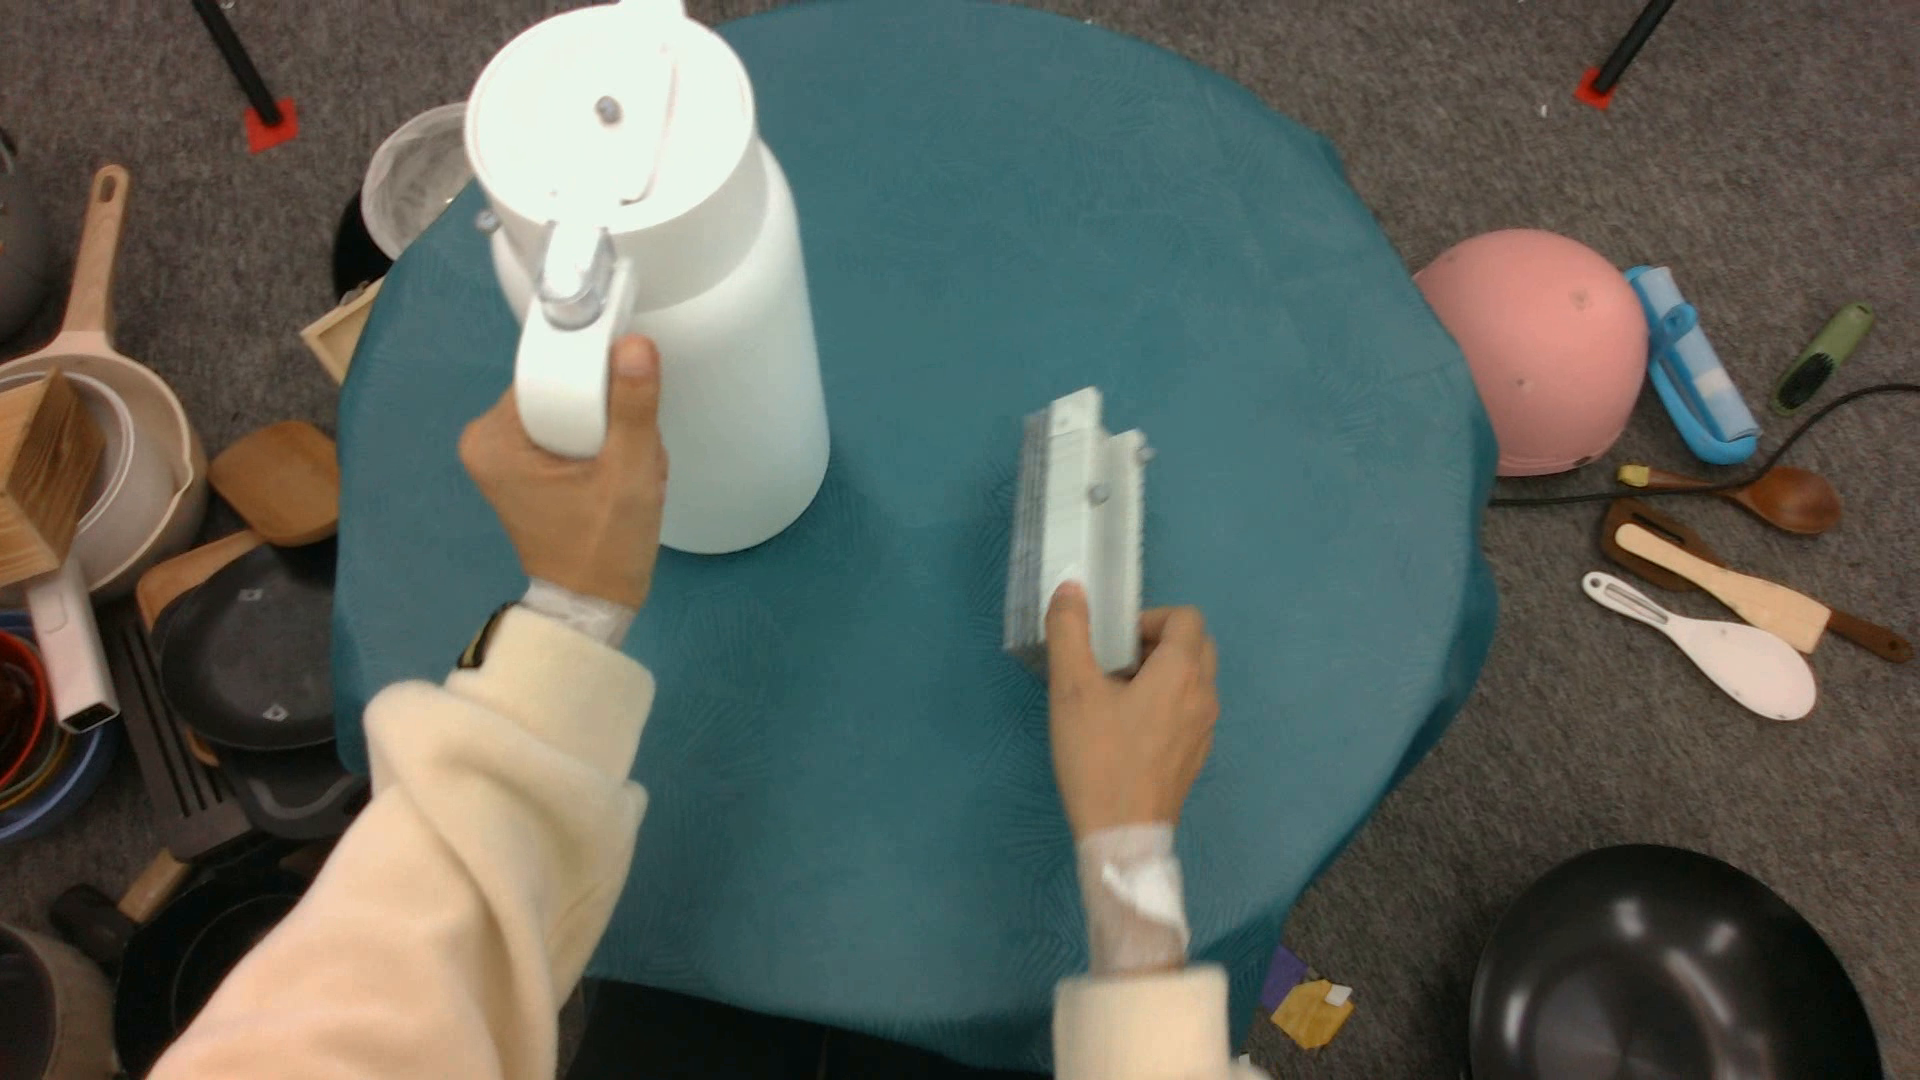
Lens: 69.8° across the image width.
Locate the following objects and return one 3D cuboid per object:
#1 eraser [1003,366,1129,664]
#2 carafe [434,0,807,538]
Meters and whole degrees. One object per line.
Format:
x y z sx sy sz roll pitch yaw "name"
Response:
0.051 -0.012 0.659 0.046 0.050 0.135 -19 52 31 "eraser"
-0.134 -0.086 0.591 0.124 0.268 0.173 8 67 -1 "carafe"
